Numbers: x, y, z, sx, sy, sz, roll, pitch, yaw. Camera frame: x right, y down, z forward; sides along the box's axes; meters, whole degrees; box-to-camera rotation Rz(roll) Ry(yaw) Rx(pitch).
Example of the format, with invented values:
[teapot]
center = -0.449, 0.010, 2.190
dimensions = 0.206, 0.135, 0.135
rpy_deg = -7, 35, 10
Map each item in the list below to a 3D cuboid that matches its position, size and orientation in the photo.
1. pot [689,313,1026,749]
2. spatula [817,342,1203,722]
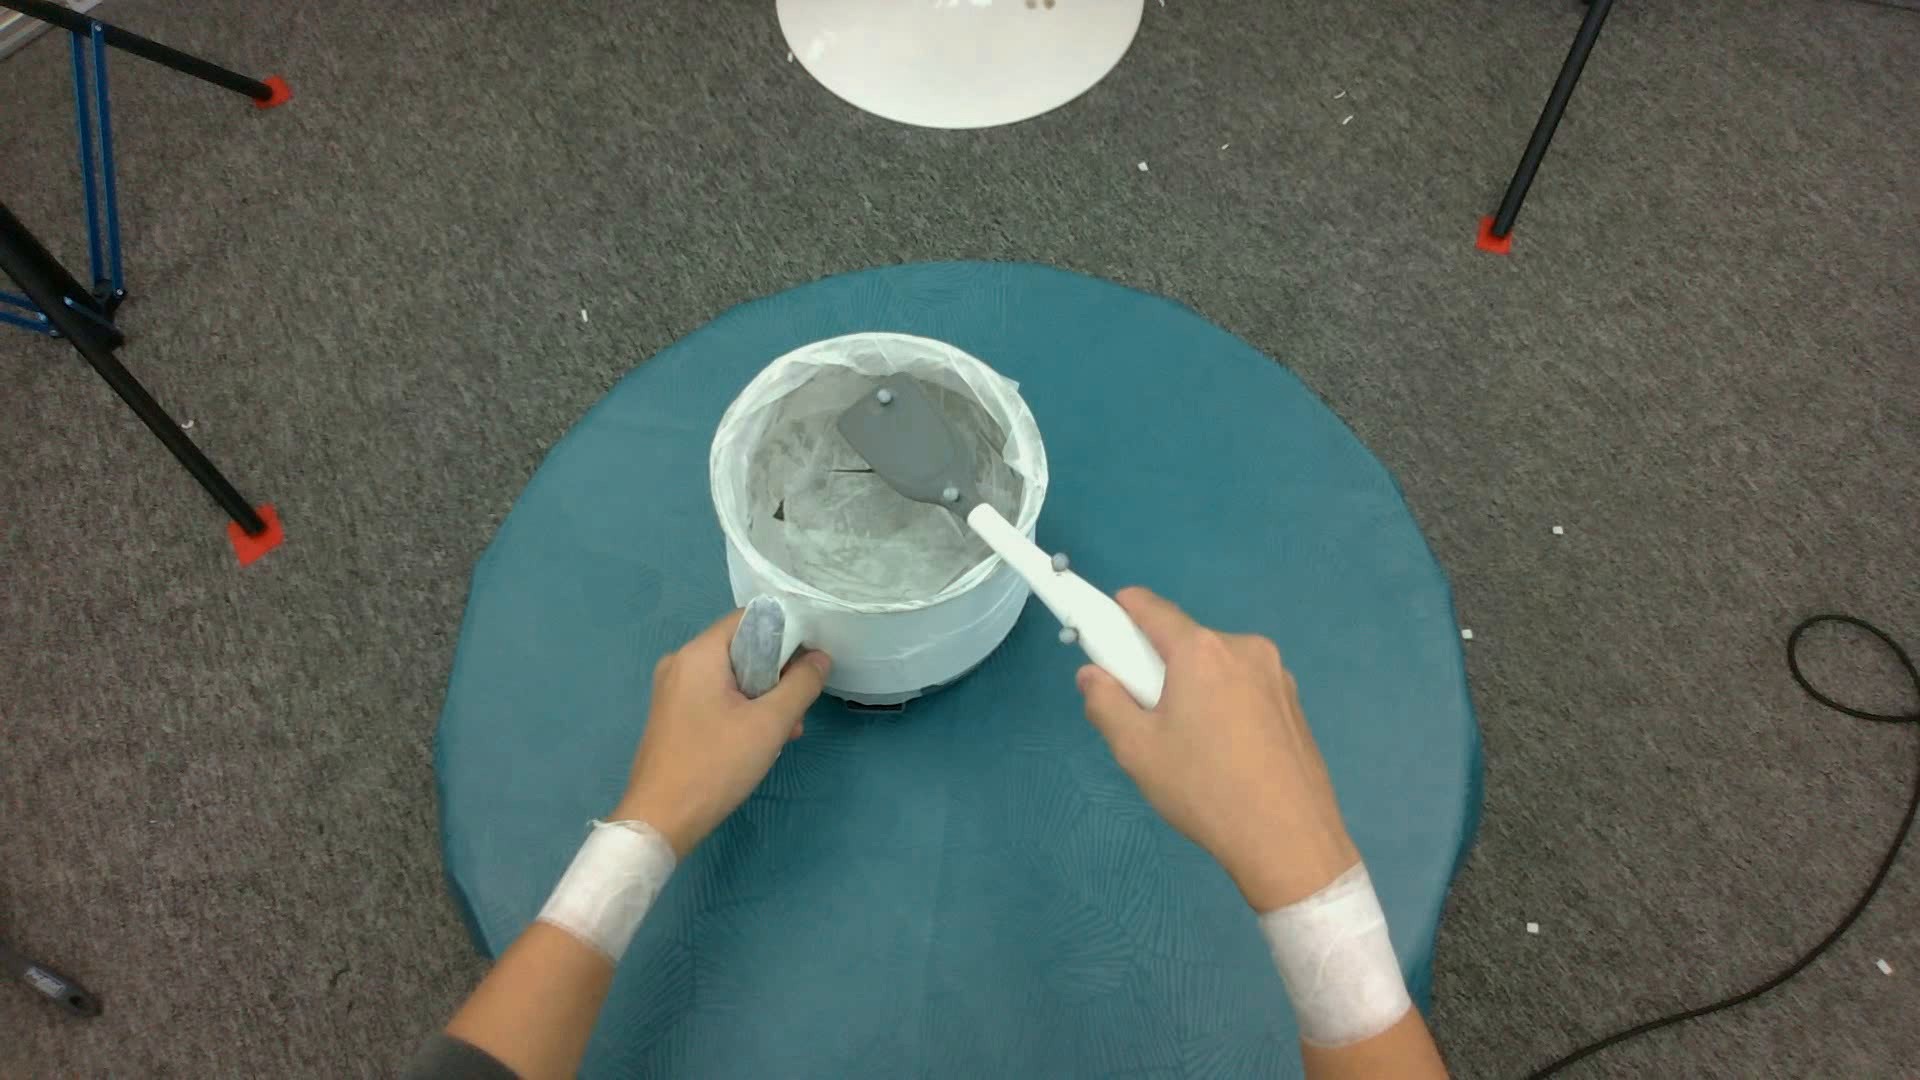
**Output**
[pot]
center = -0.069, 0.003, 0.761
dimensions = 0.178, 0.136, 0.235
rpy_deg = 27, 62, 13
[spatula]
center = 0.017, -0.013, 0.683
dimensions = 0.059, 0.032, 0.288
rpy_deg = -41, 50, -3
